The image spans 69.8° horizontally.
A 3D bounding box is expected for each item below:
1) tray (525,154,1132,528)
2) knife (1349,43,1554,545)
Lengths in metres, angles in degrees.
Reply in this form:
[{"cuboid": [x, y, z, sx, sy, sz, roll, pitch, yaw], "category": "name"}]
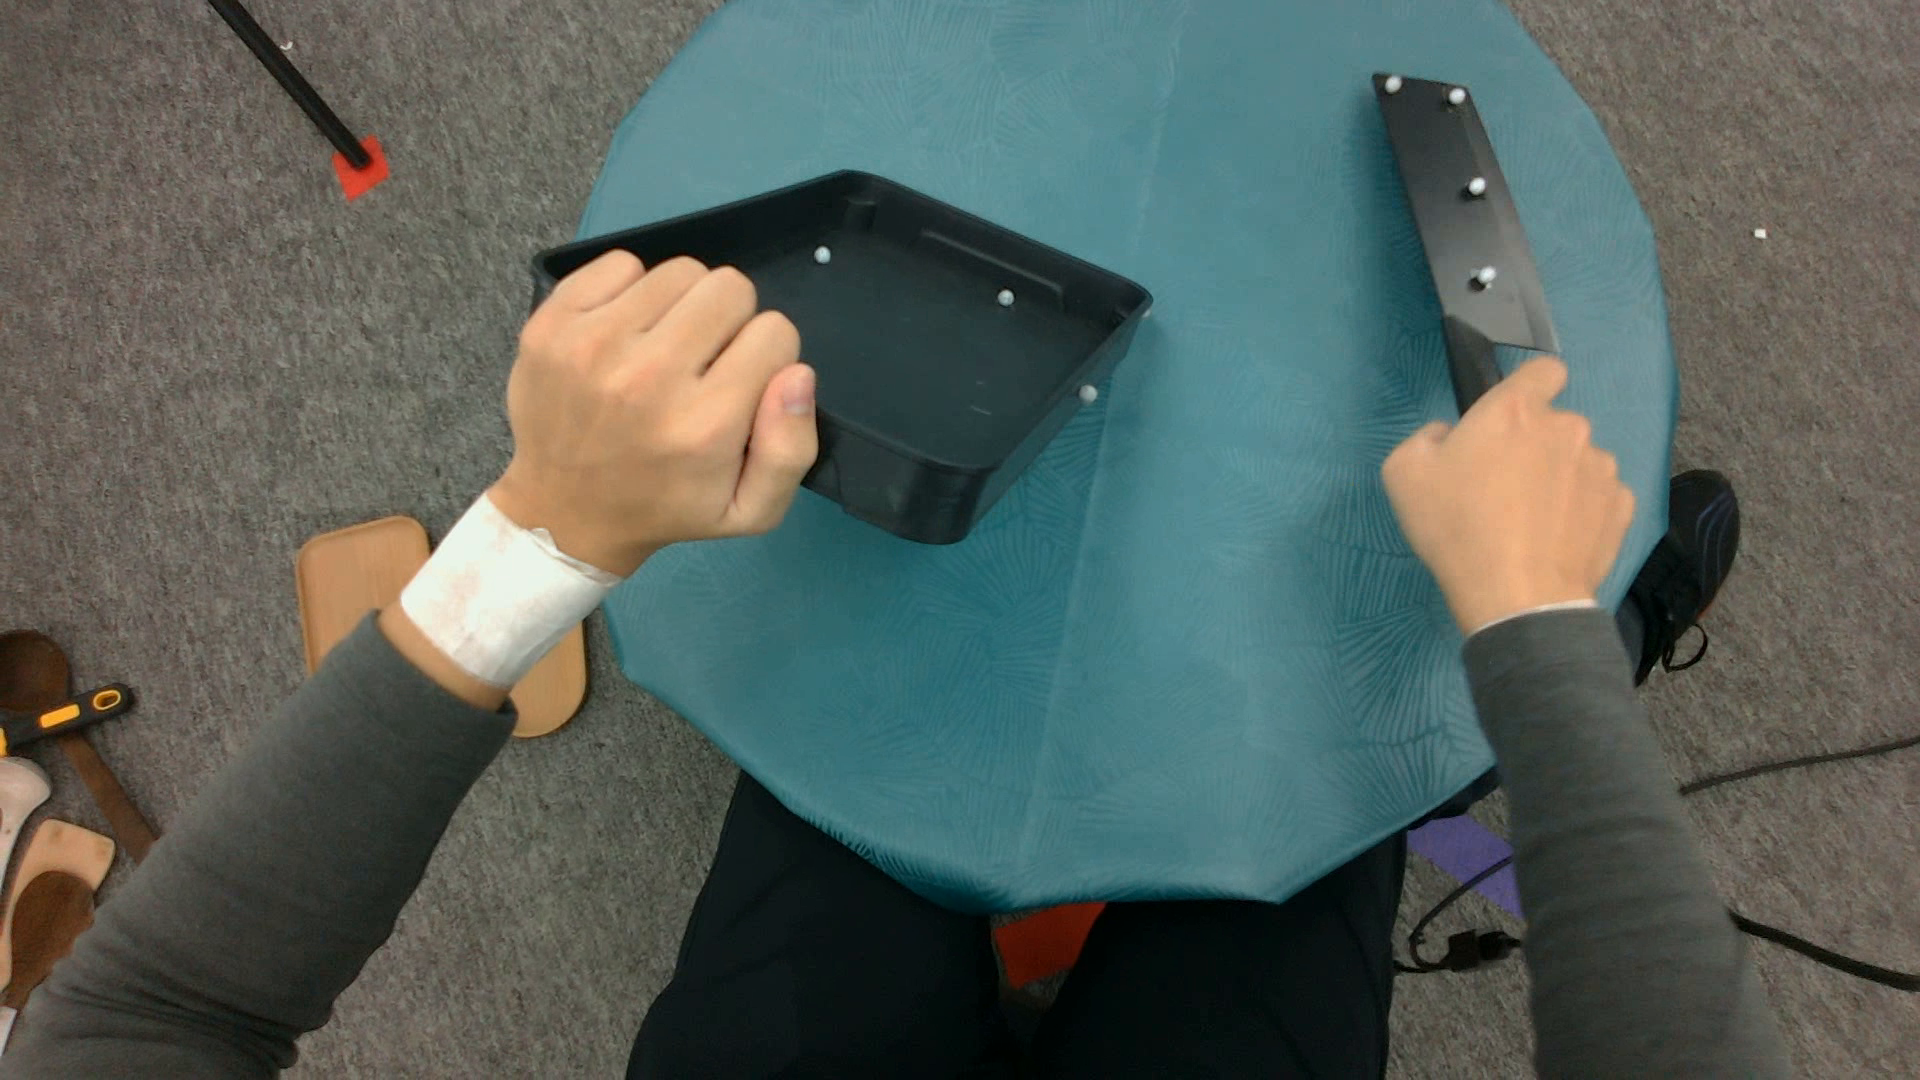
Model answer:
[{"cuboid": [-0.036, -0.106, 0.611, 0.184, 0.319, 0.037, 23, 117, 7], "category": "tray"}, {"cuboid": [0.244, -0.132, 0.678, 0.081, 0.021, 0.303, 17, 54, -27], "category": "knife"}]
